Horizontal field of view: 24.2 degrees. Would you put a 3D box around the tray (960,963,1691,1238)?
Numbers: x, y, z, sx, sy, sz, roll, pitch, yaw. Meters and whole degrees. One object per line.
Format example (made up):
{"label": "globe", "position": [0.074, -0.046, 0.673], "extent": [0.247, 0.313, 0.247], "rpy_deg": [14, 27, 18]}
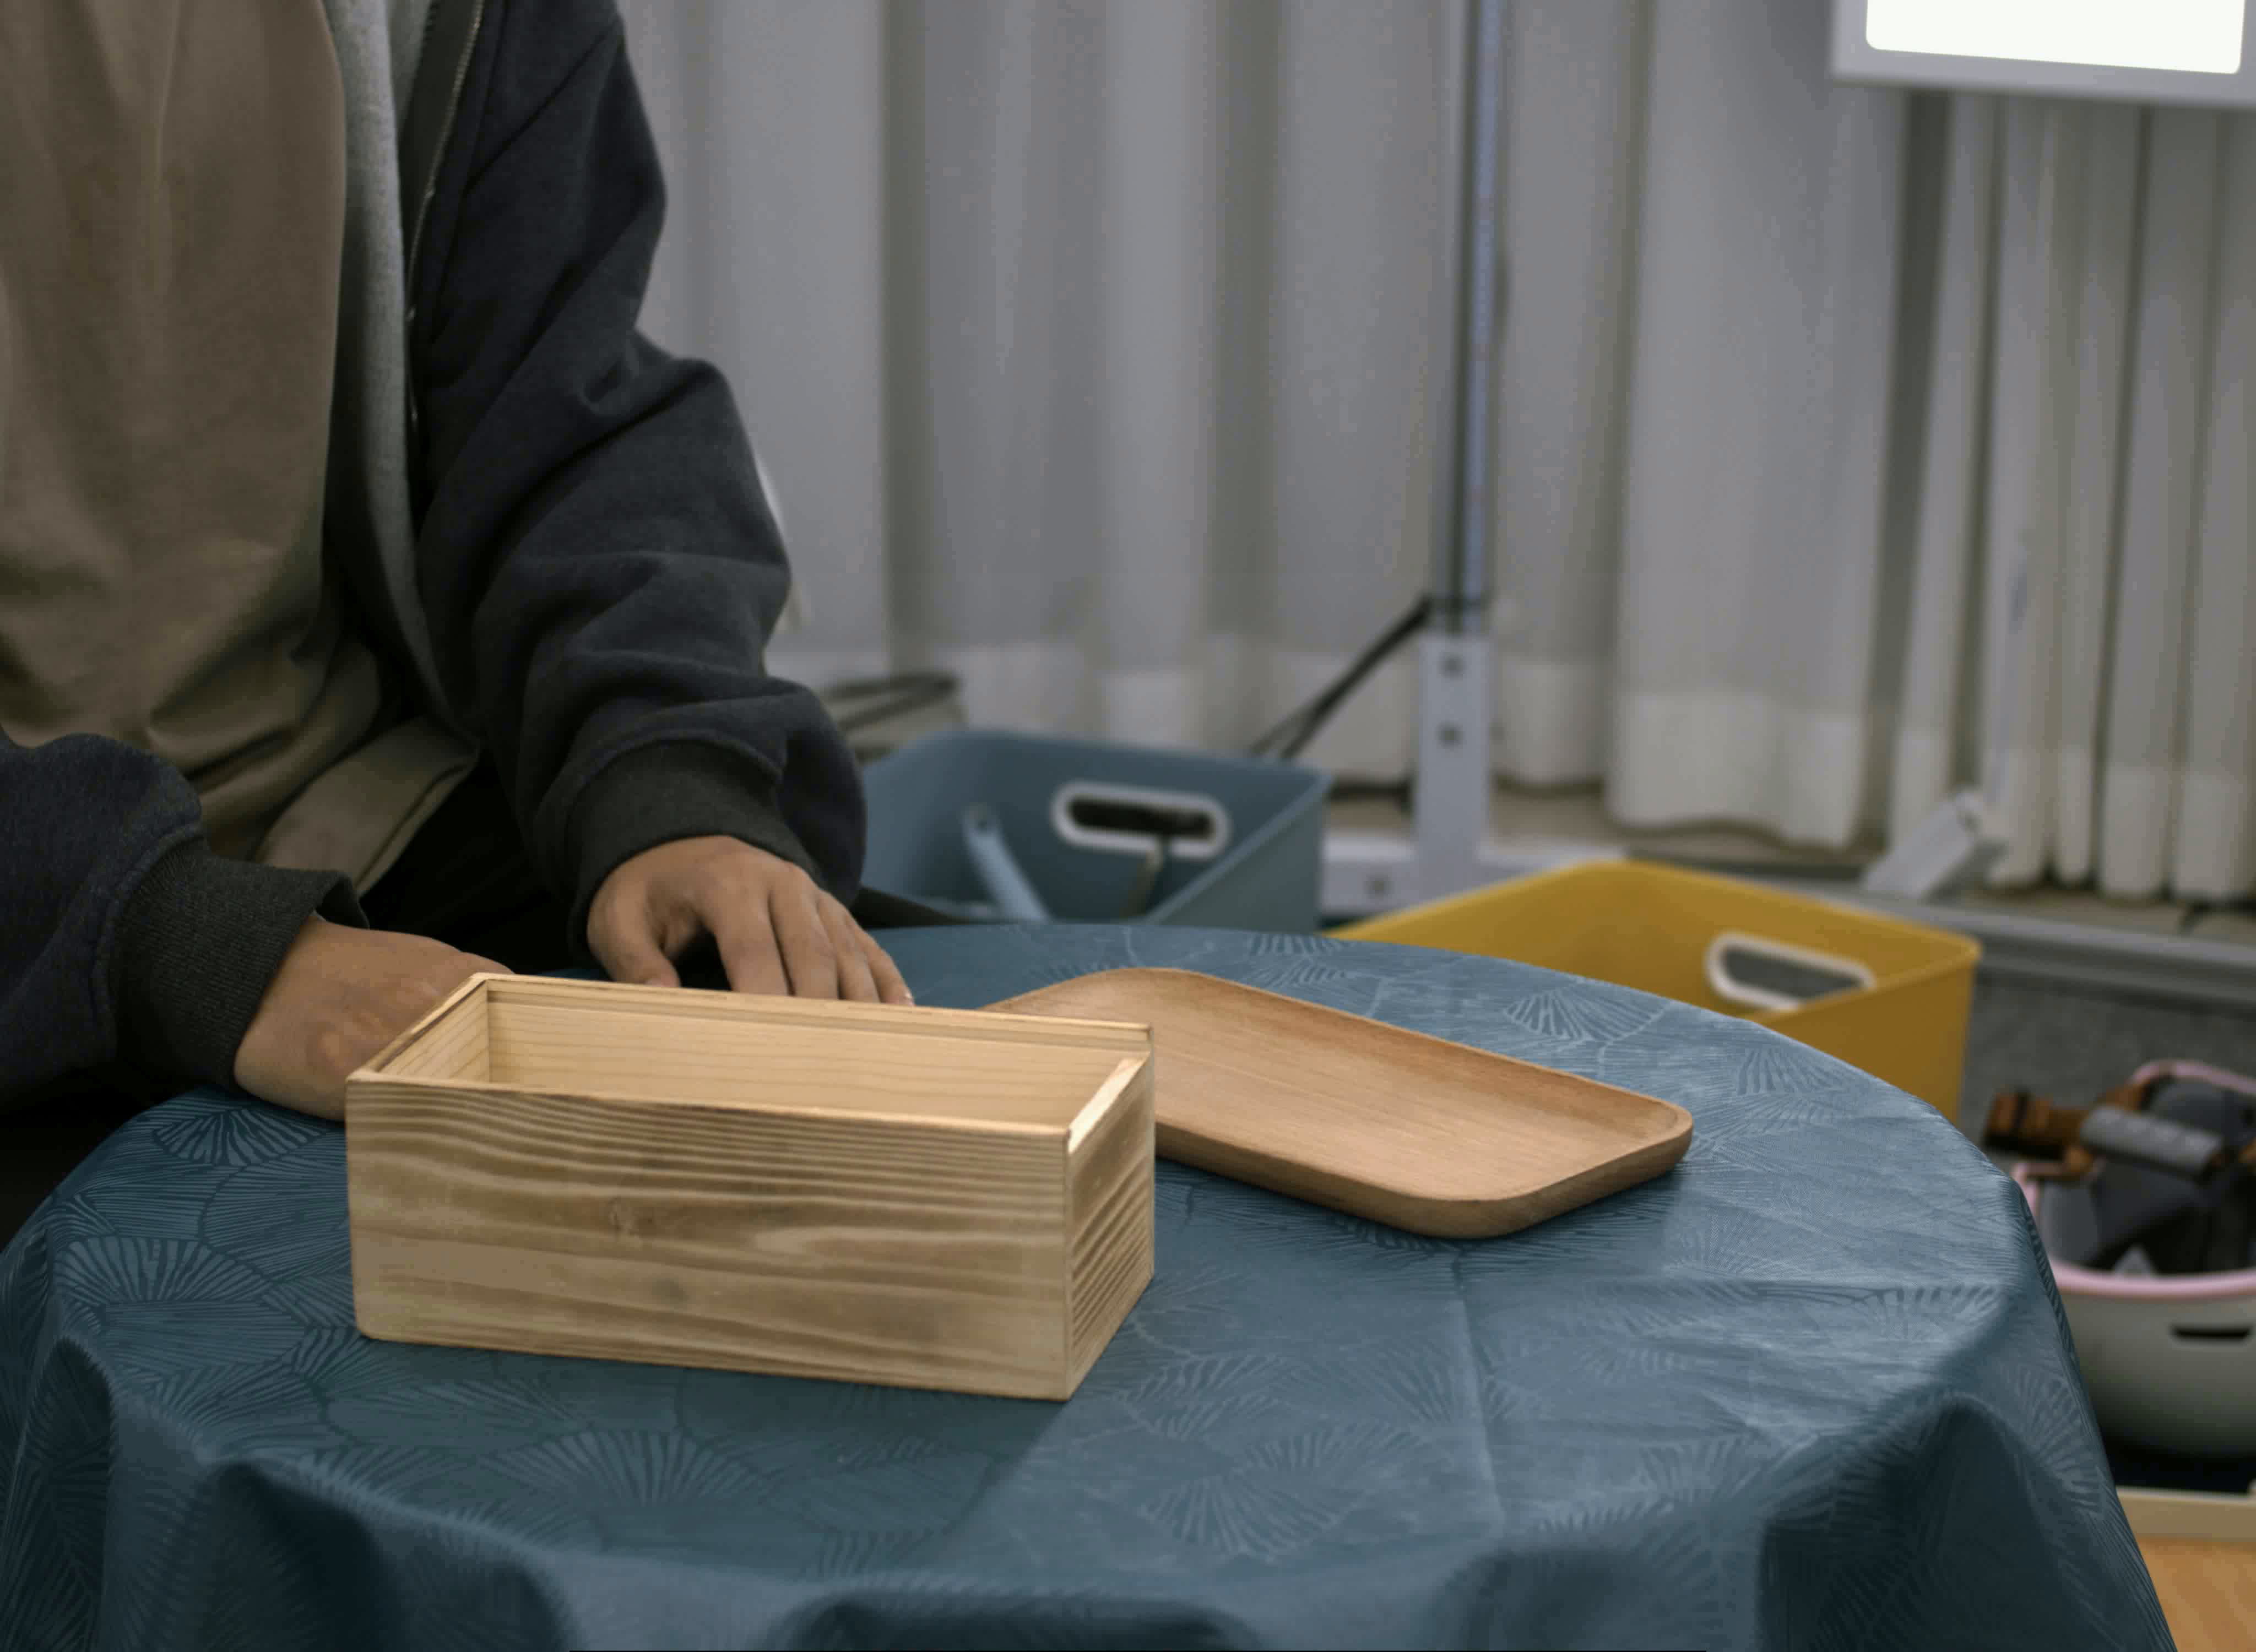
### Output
{"label": "tray", "position": [0.054, 0.086, 1.687], "extent": [0.247, 0.023, 0.131], "rpy_deg": [14, 18, 41]}

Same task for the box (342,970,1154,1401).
{"label": "box", "position": [-0.107, 0.101, 1.511], "extent": [0.210, 0.081, 0.107], "rpy_deg": [4, 16, 12]}
